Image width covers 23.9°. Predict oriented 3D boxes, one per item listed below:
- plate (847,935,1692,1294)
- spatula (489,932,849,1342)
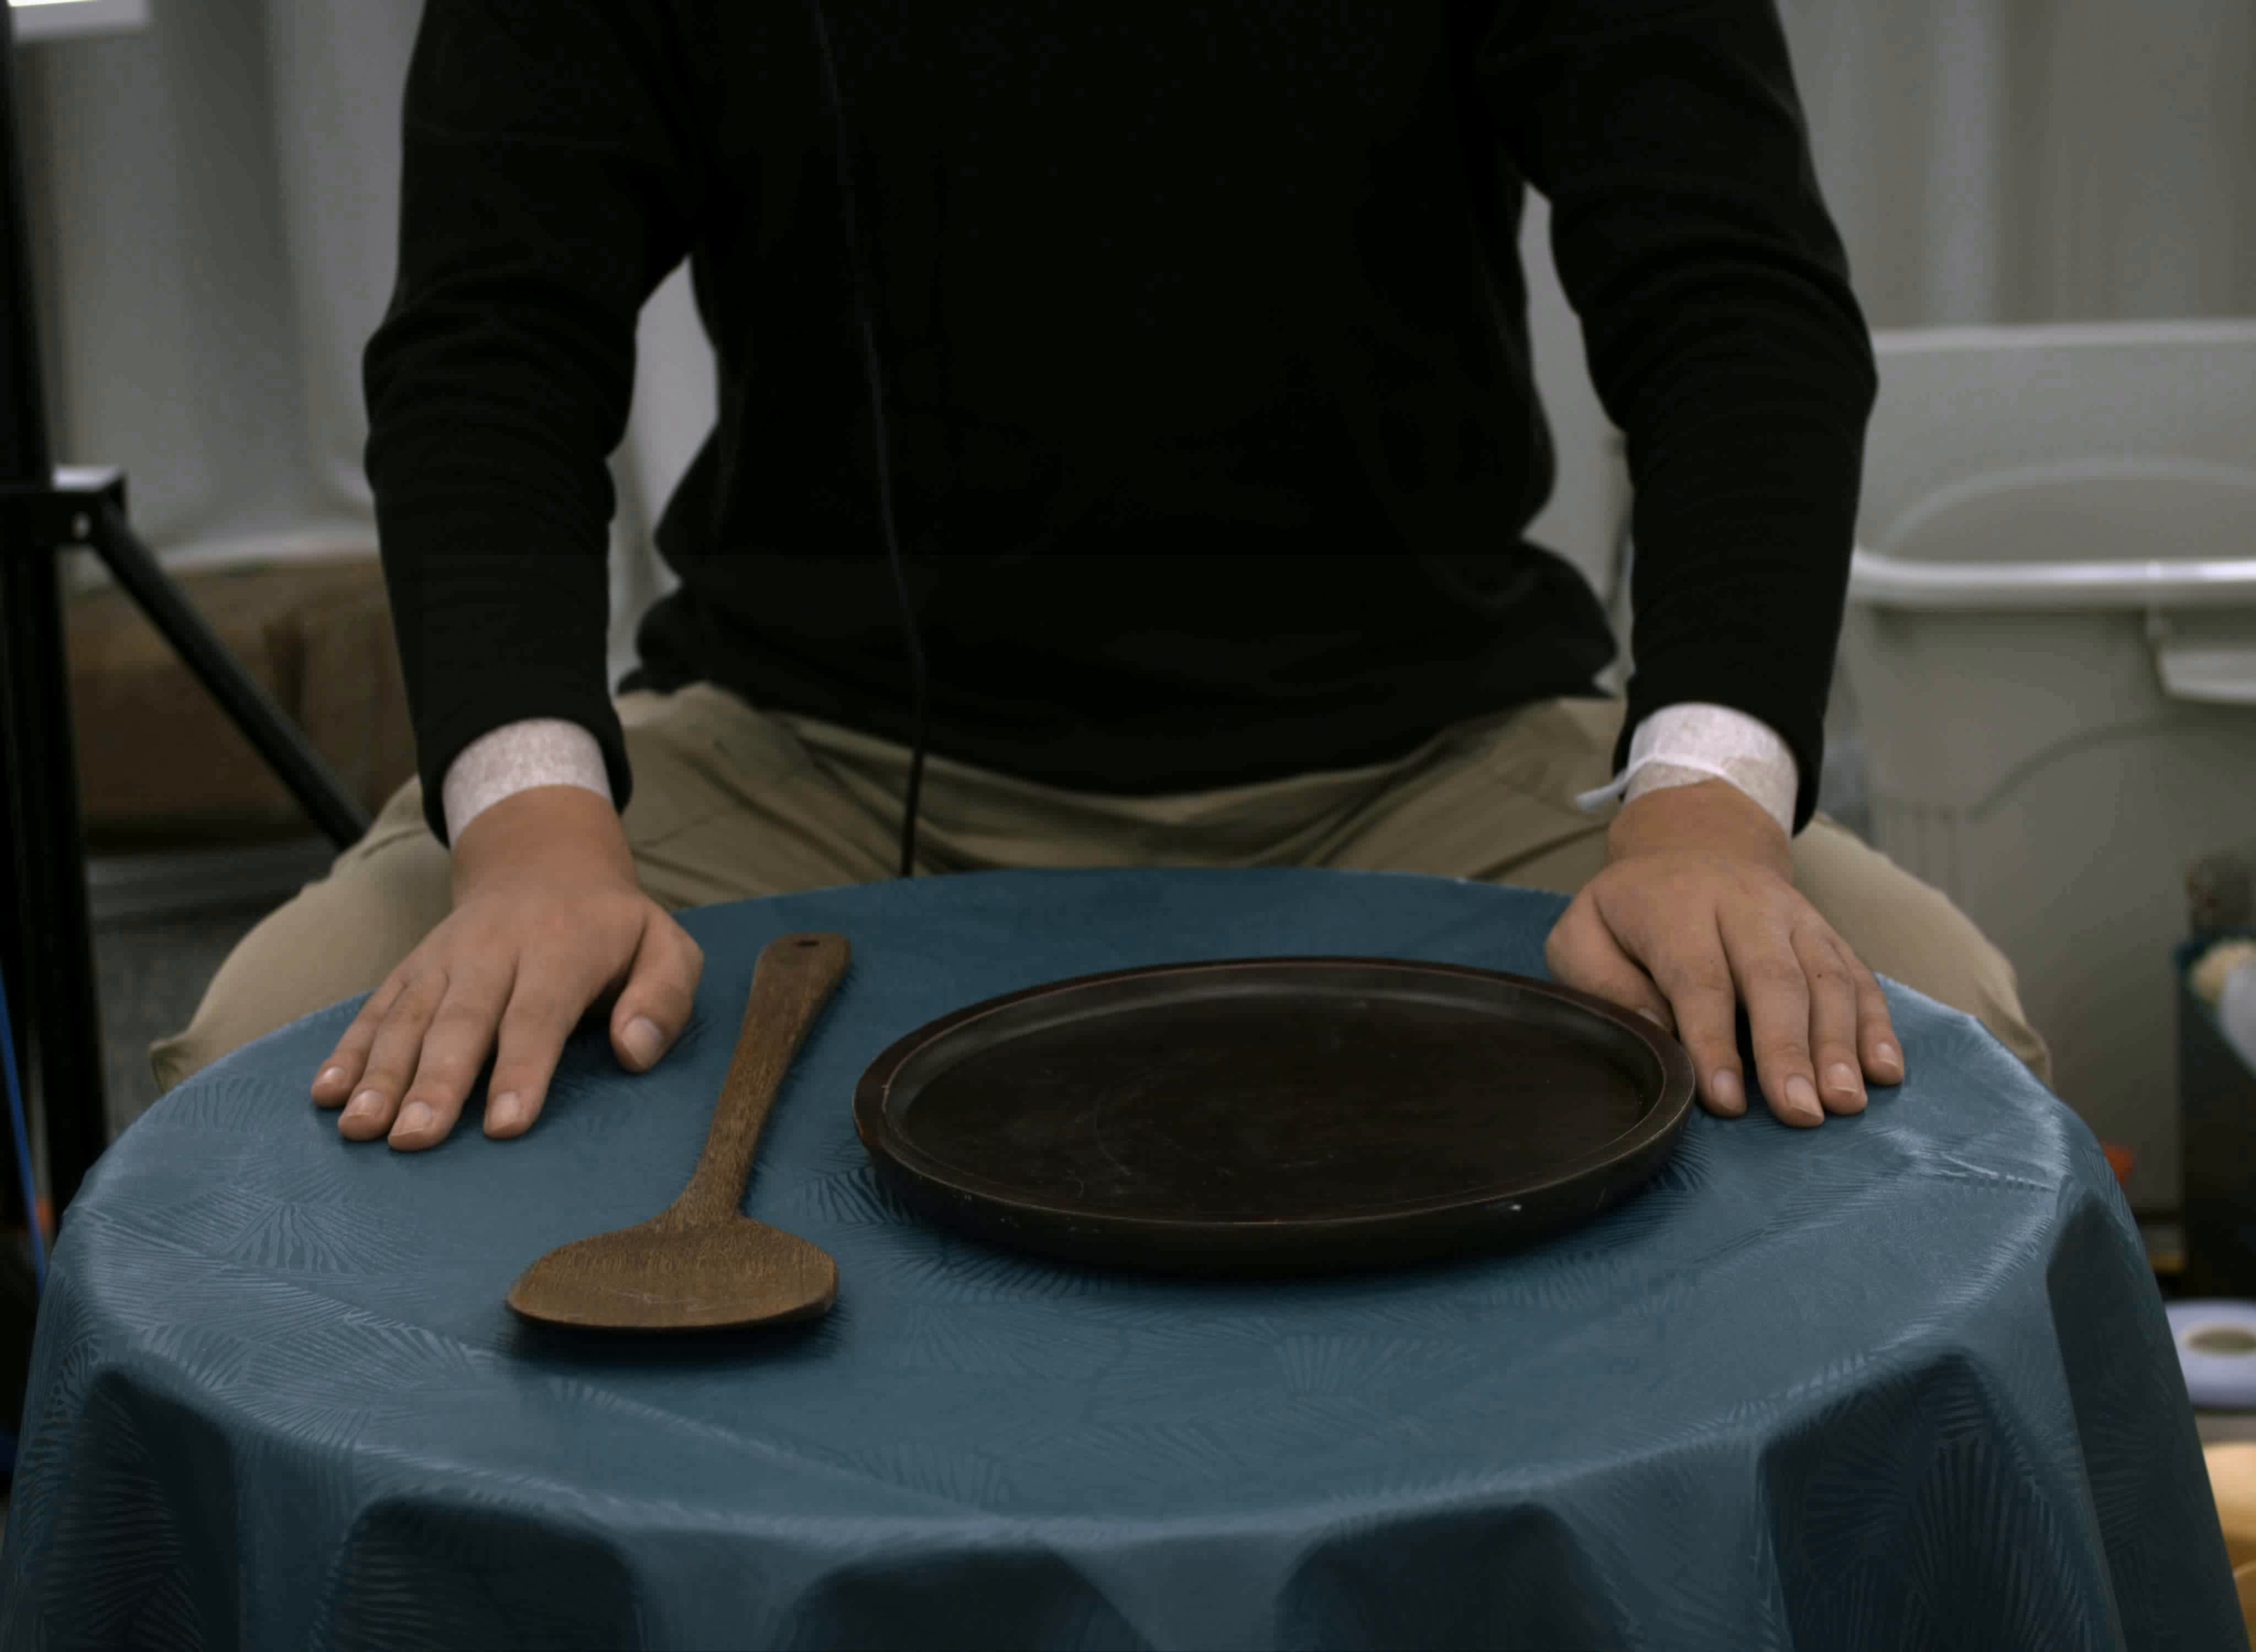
[{"bbox_3d":[0.042,0.087,1.587,0.253,0.029,0.256,-3,17,-1],"label":"plate"},{"bbox_3d":[-0.118,0.088,1.622,0.096,0.016,0.386,-1,16,4],"label":"spatula"}]
